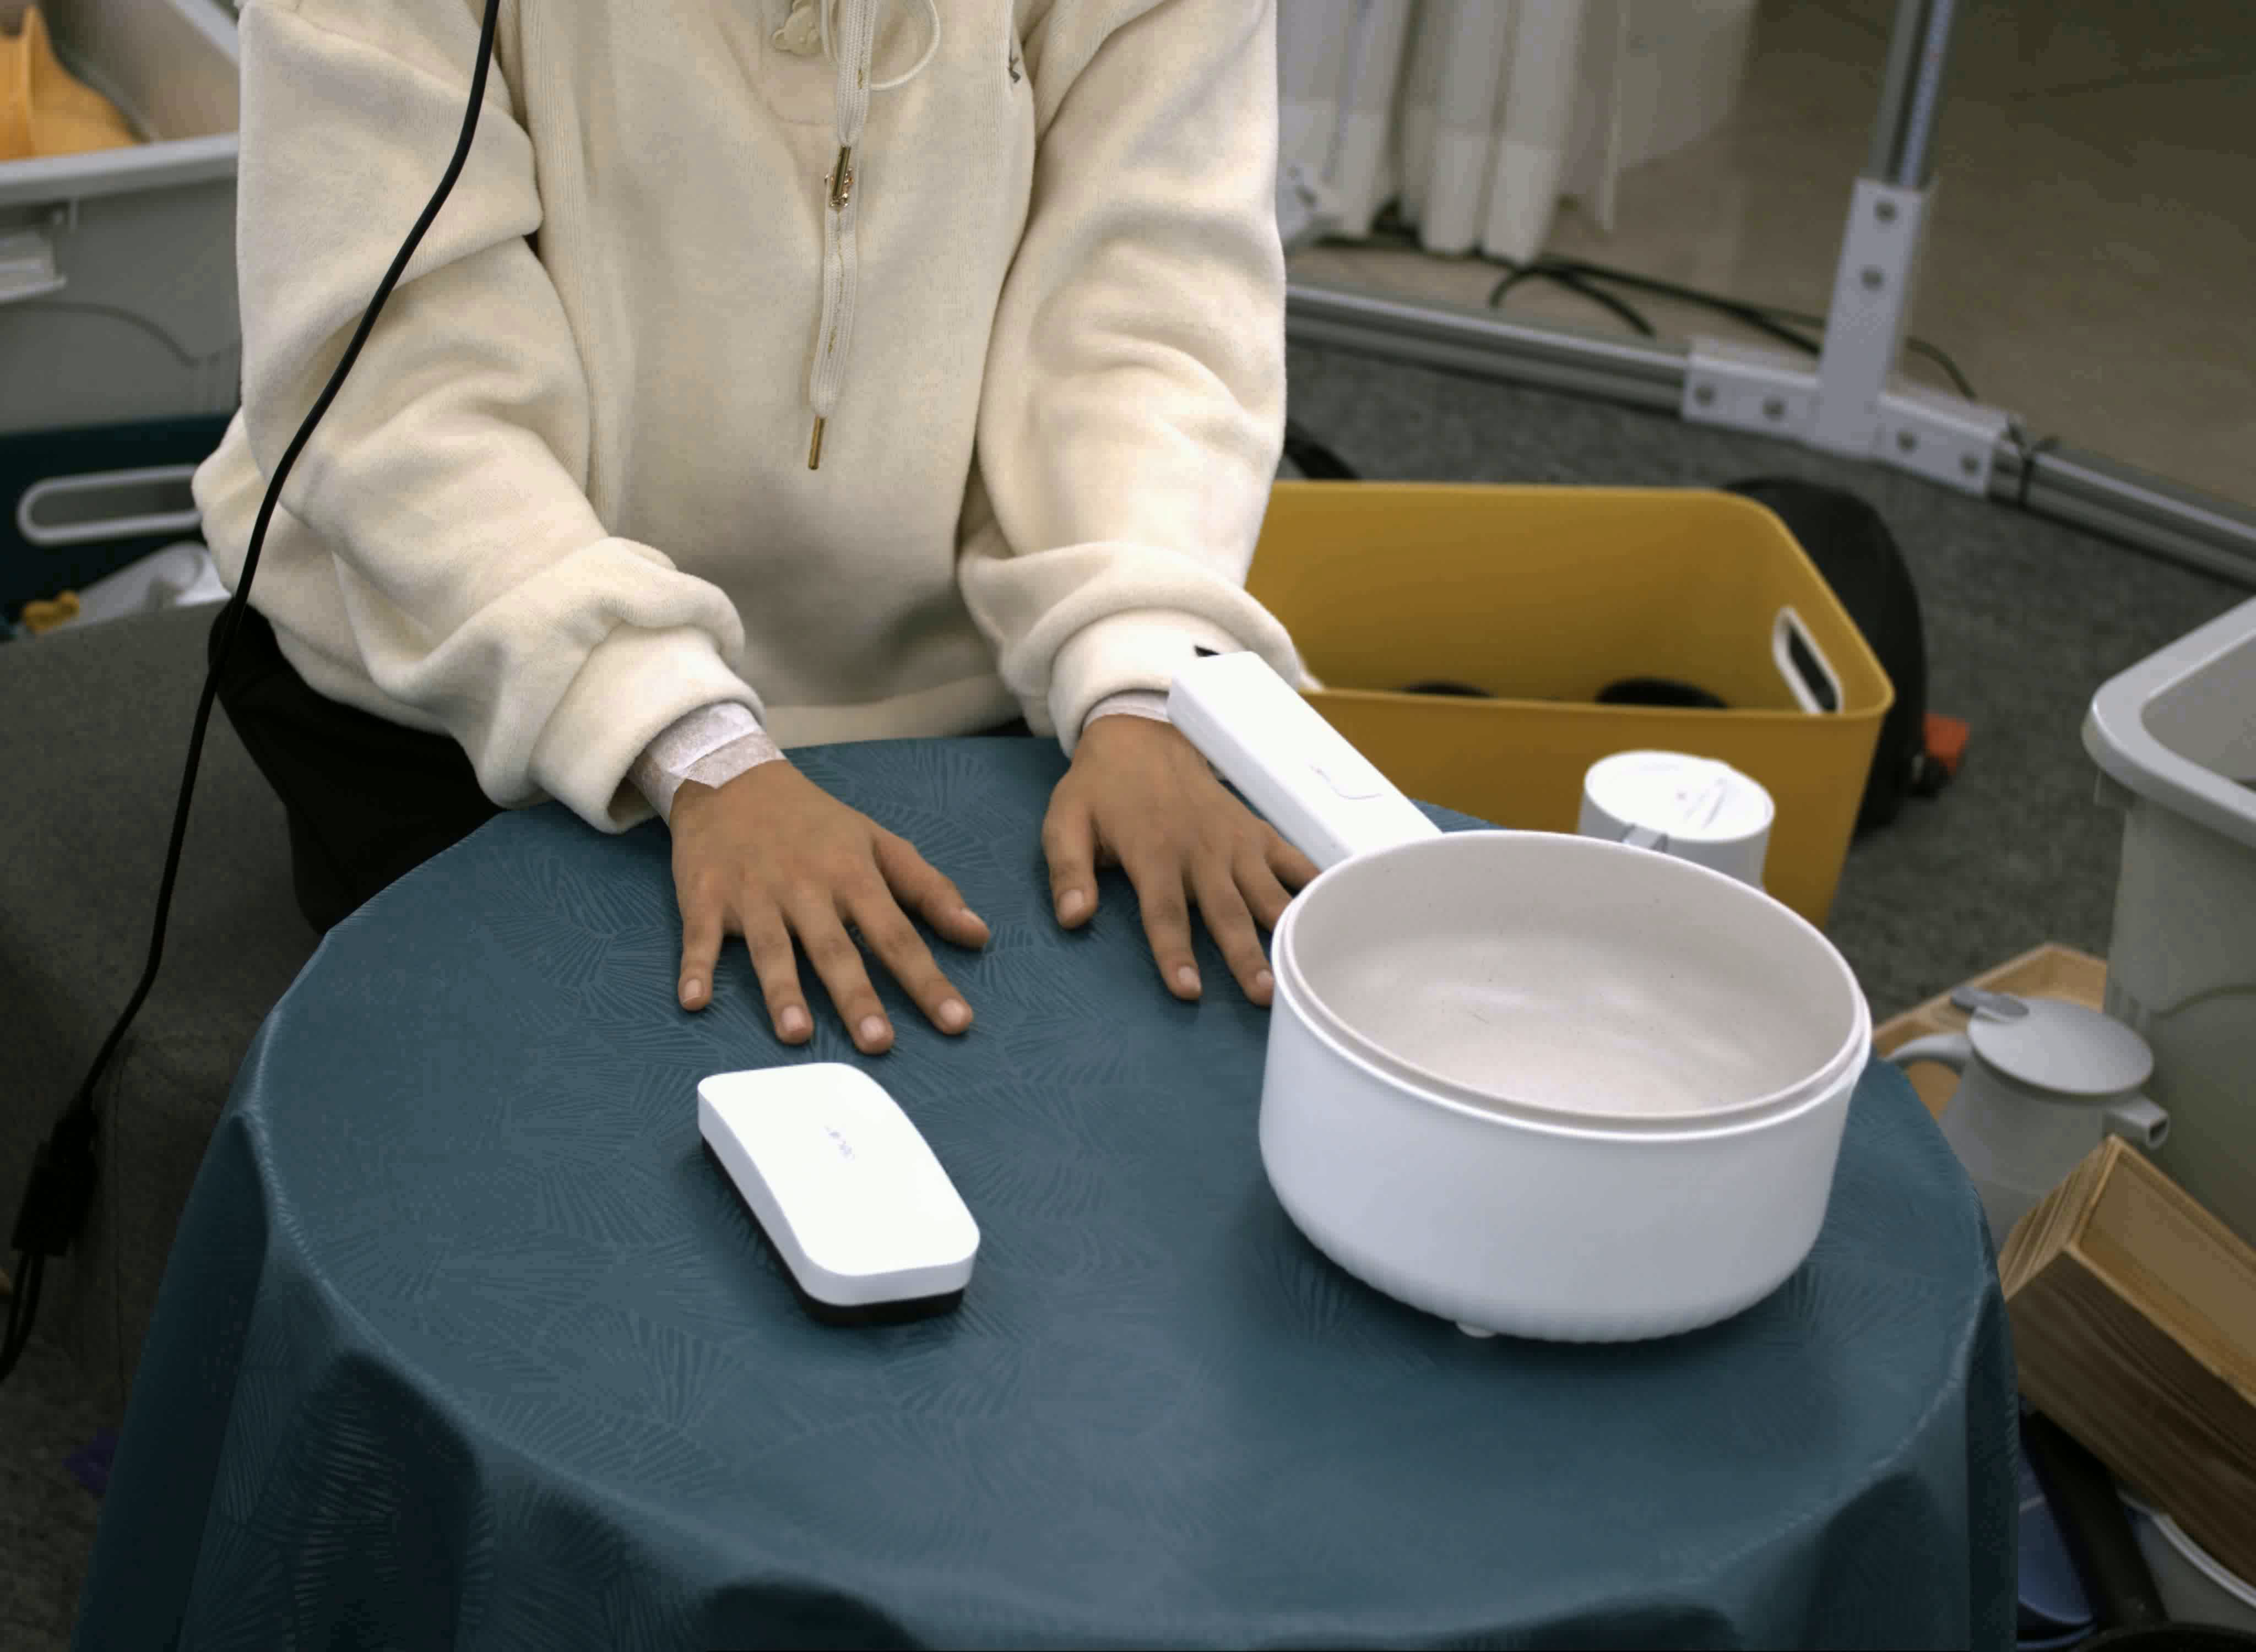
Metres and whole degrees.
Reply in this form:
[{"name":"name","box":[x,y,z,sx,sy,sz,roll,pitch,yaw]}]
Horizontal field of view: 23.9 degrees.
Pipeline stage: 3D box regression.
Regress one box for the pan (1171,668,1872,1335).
[{"name":"pan","box":[0.107,0.058,1.846,0.200,0.102,0.358,-7,27,-27]}]

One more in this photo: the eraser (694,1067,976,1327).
[{"name":"eraser","box":[-0.097,0.118,1.757,0.063,0.034,0.132,-3,29,-24]}]
